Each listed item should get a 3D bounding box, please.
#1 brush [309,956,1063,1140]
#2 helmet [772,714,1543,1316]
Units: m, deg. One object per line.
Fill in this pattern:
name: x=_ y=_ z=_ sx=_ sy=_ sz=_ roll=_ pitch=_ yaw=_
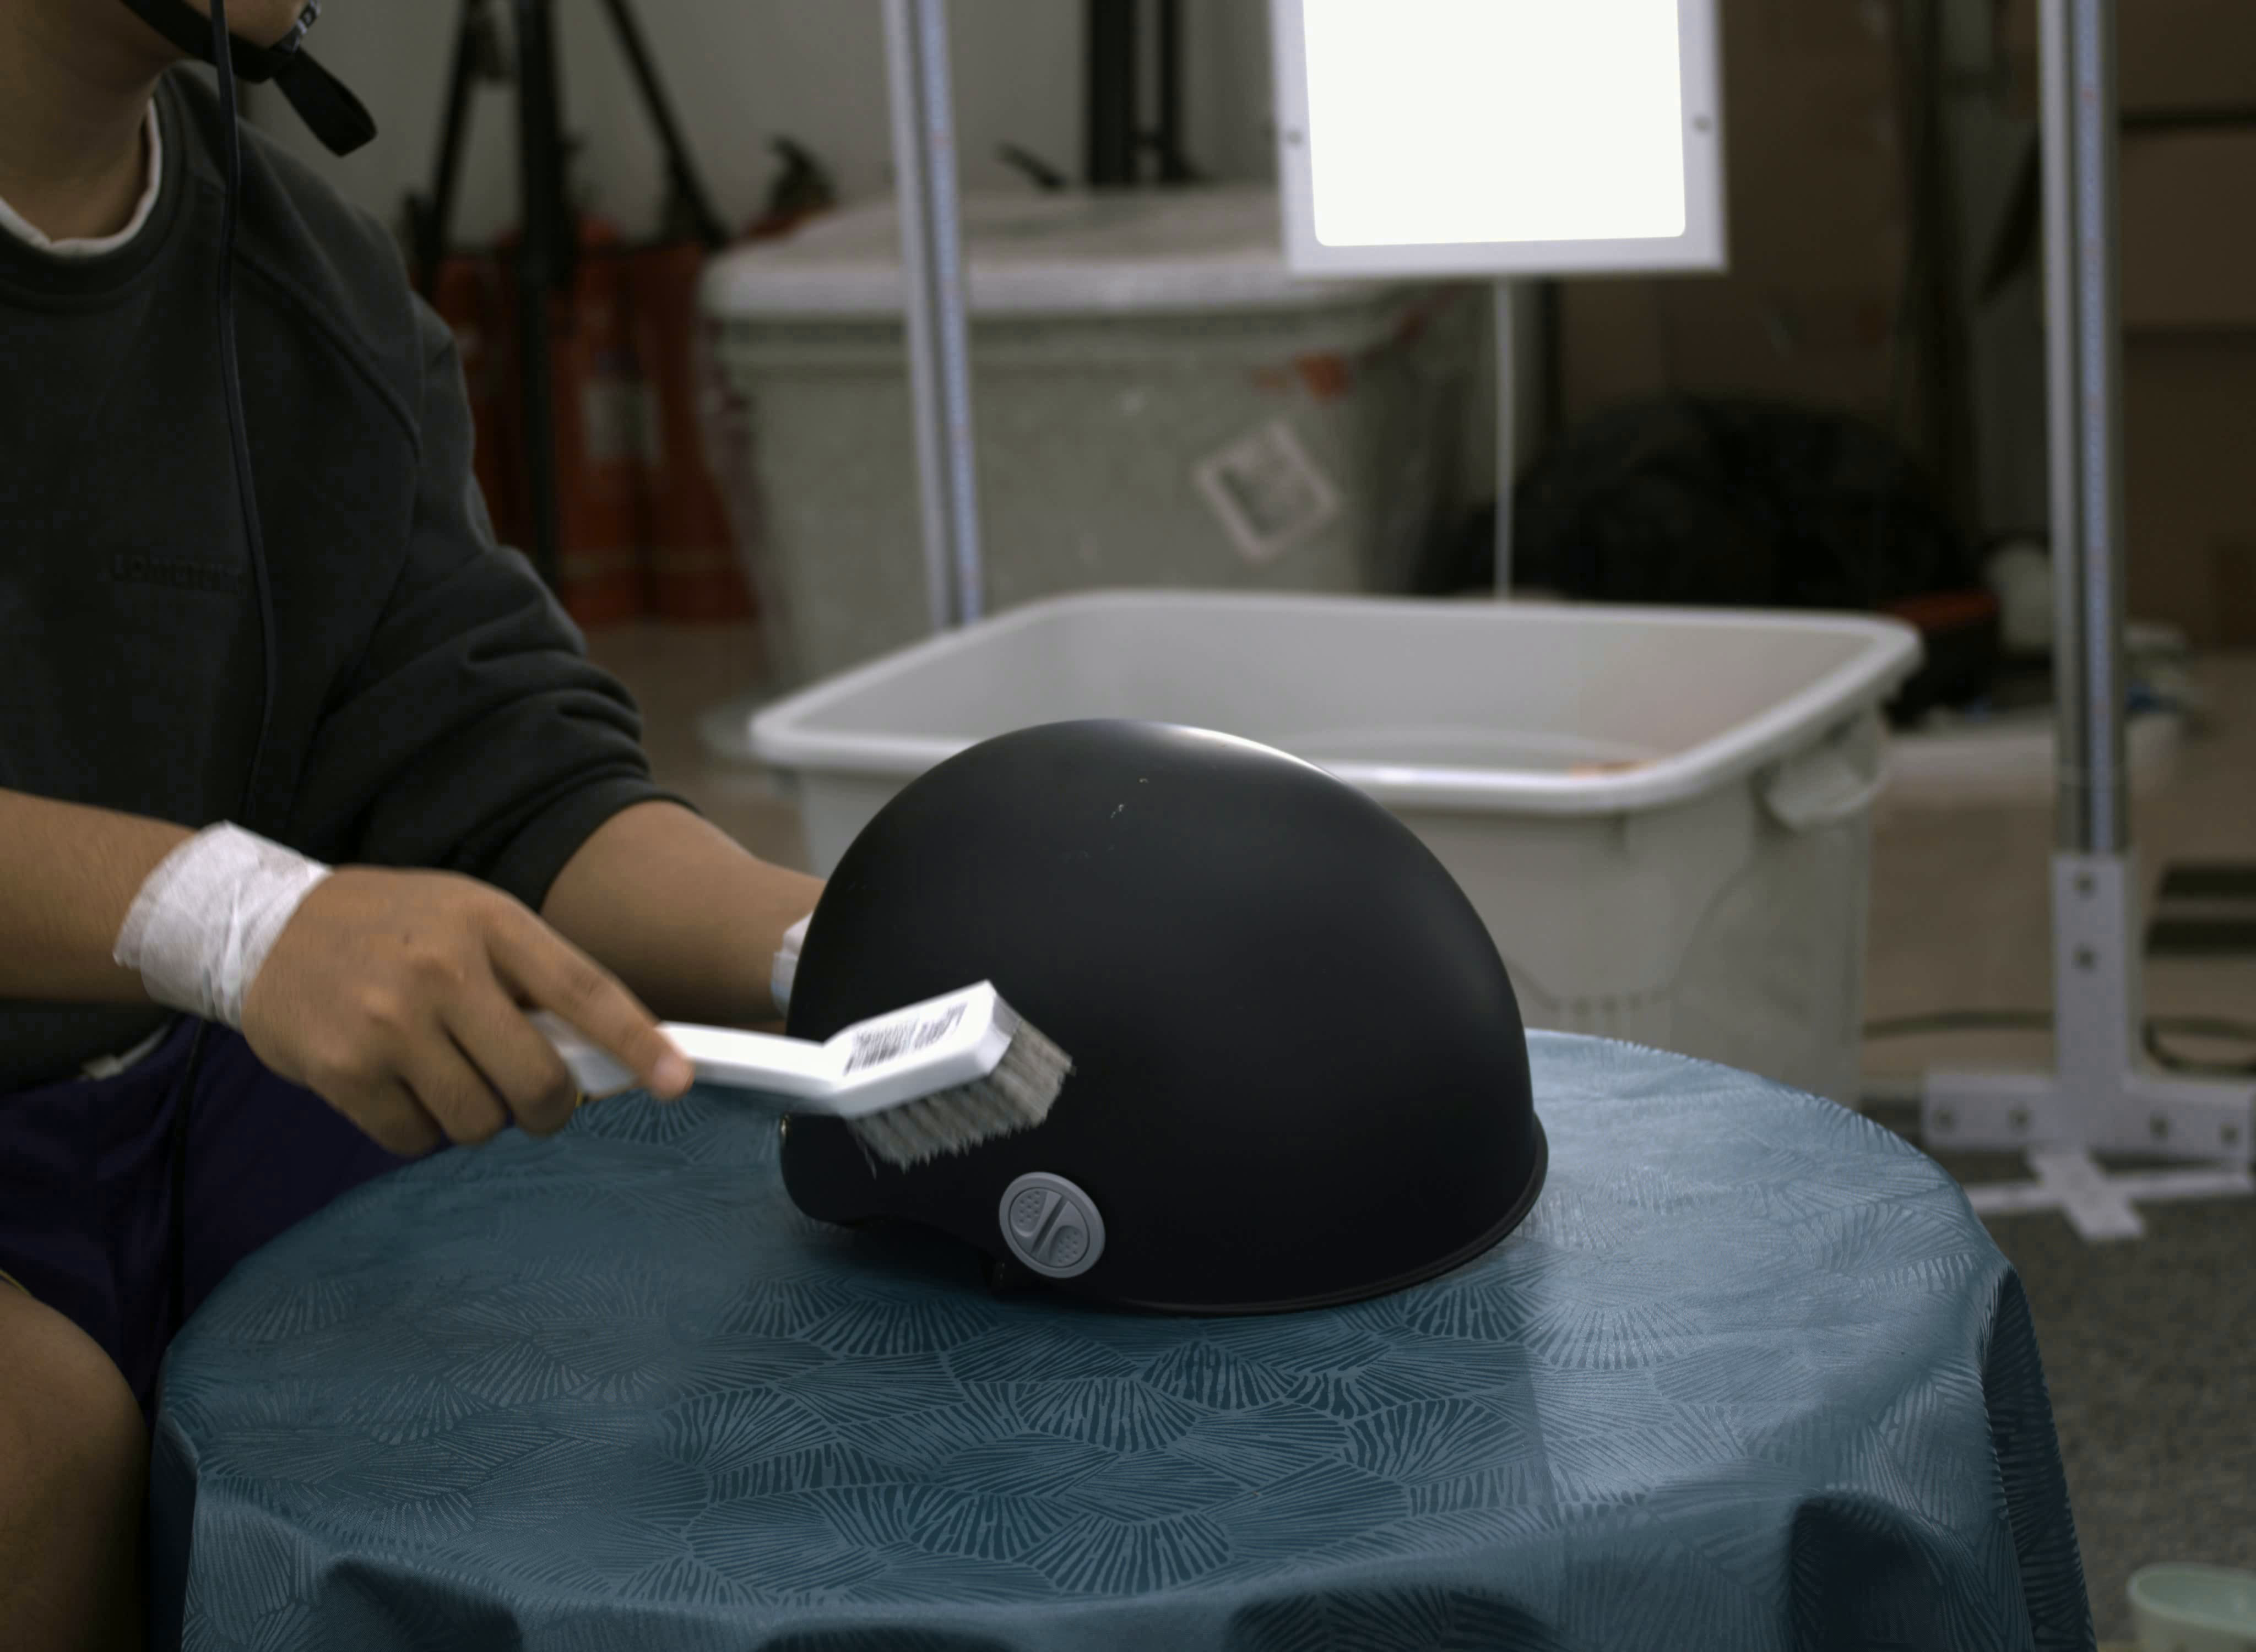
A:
brush: x=-0.137 y=0.074 z=1.699 sx=0.247 sy=0.050 sz=0.034 roll=-5 pitch=37 yaw=22
helmet: x=0.004 y=0.051 z=1.846 sx=0.279 sy=0.167 sz=0.224 roll=11 pitch=30 yaw=40
